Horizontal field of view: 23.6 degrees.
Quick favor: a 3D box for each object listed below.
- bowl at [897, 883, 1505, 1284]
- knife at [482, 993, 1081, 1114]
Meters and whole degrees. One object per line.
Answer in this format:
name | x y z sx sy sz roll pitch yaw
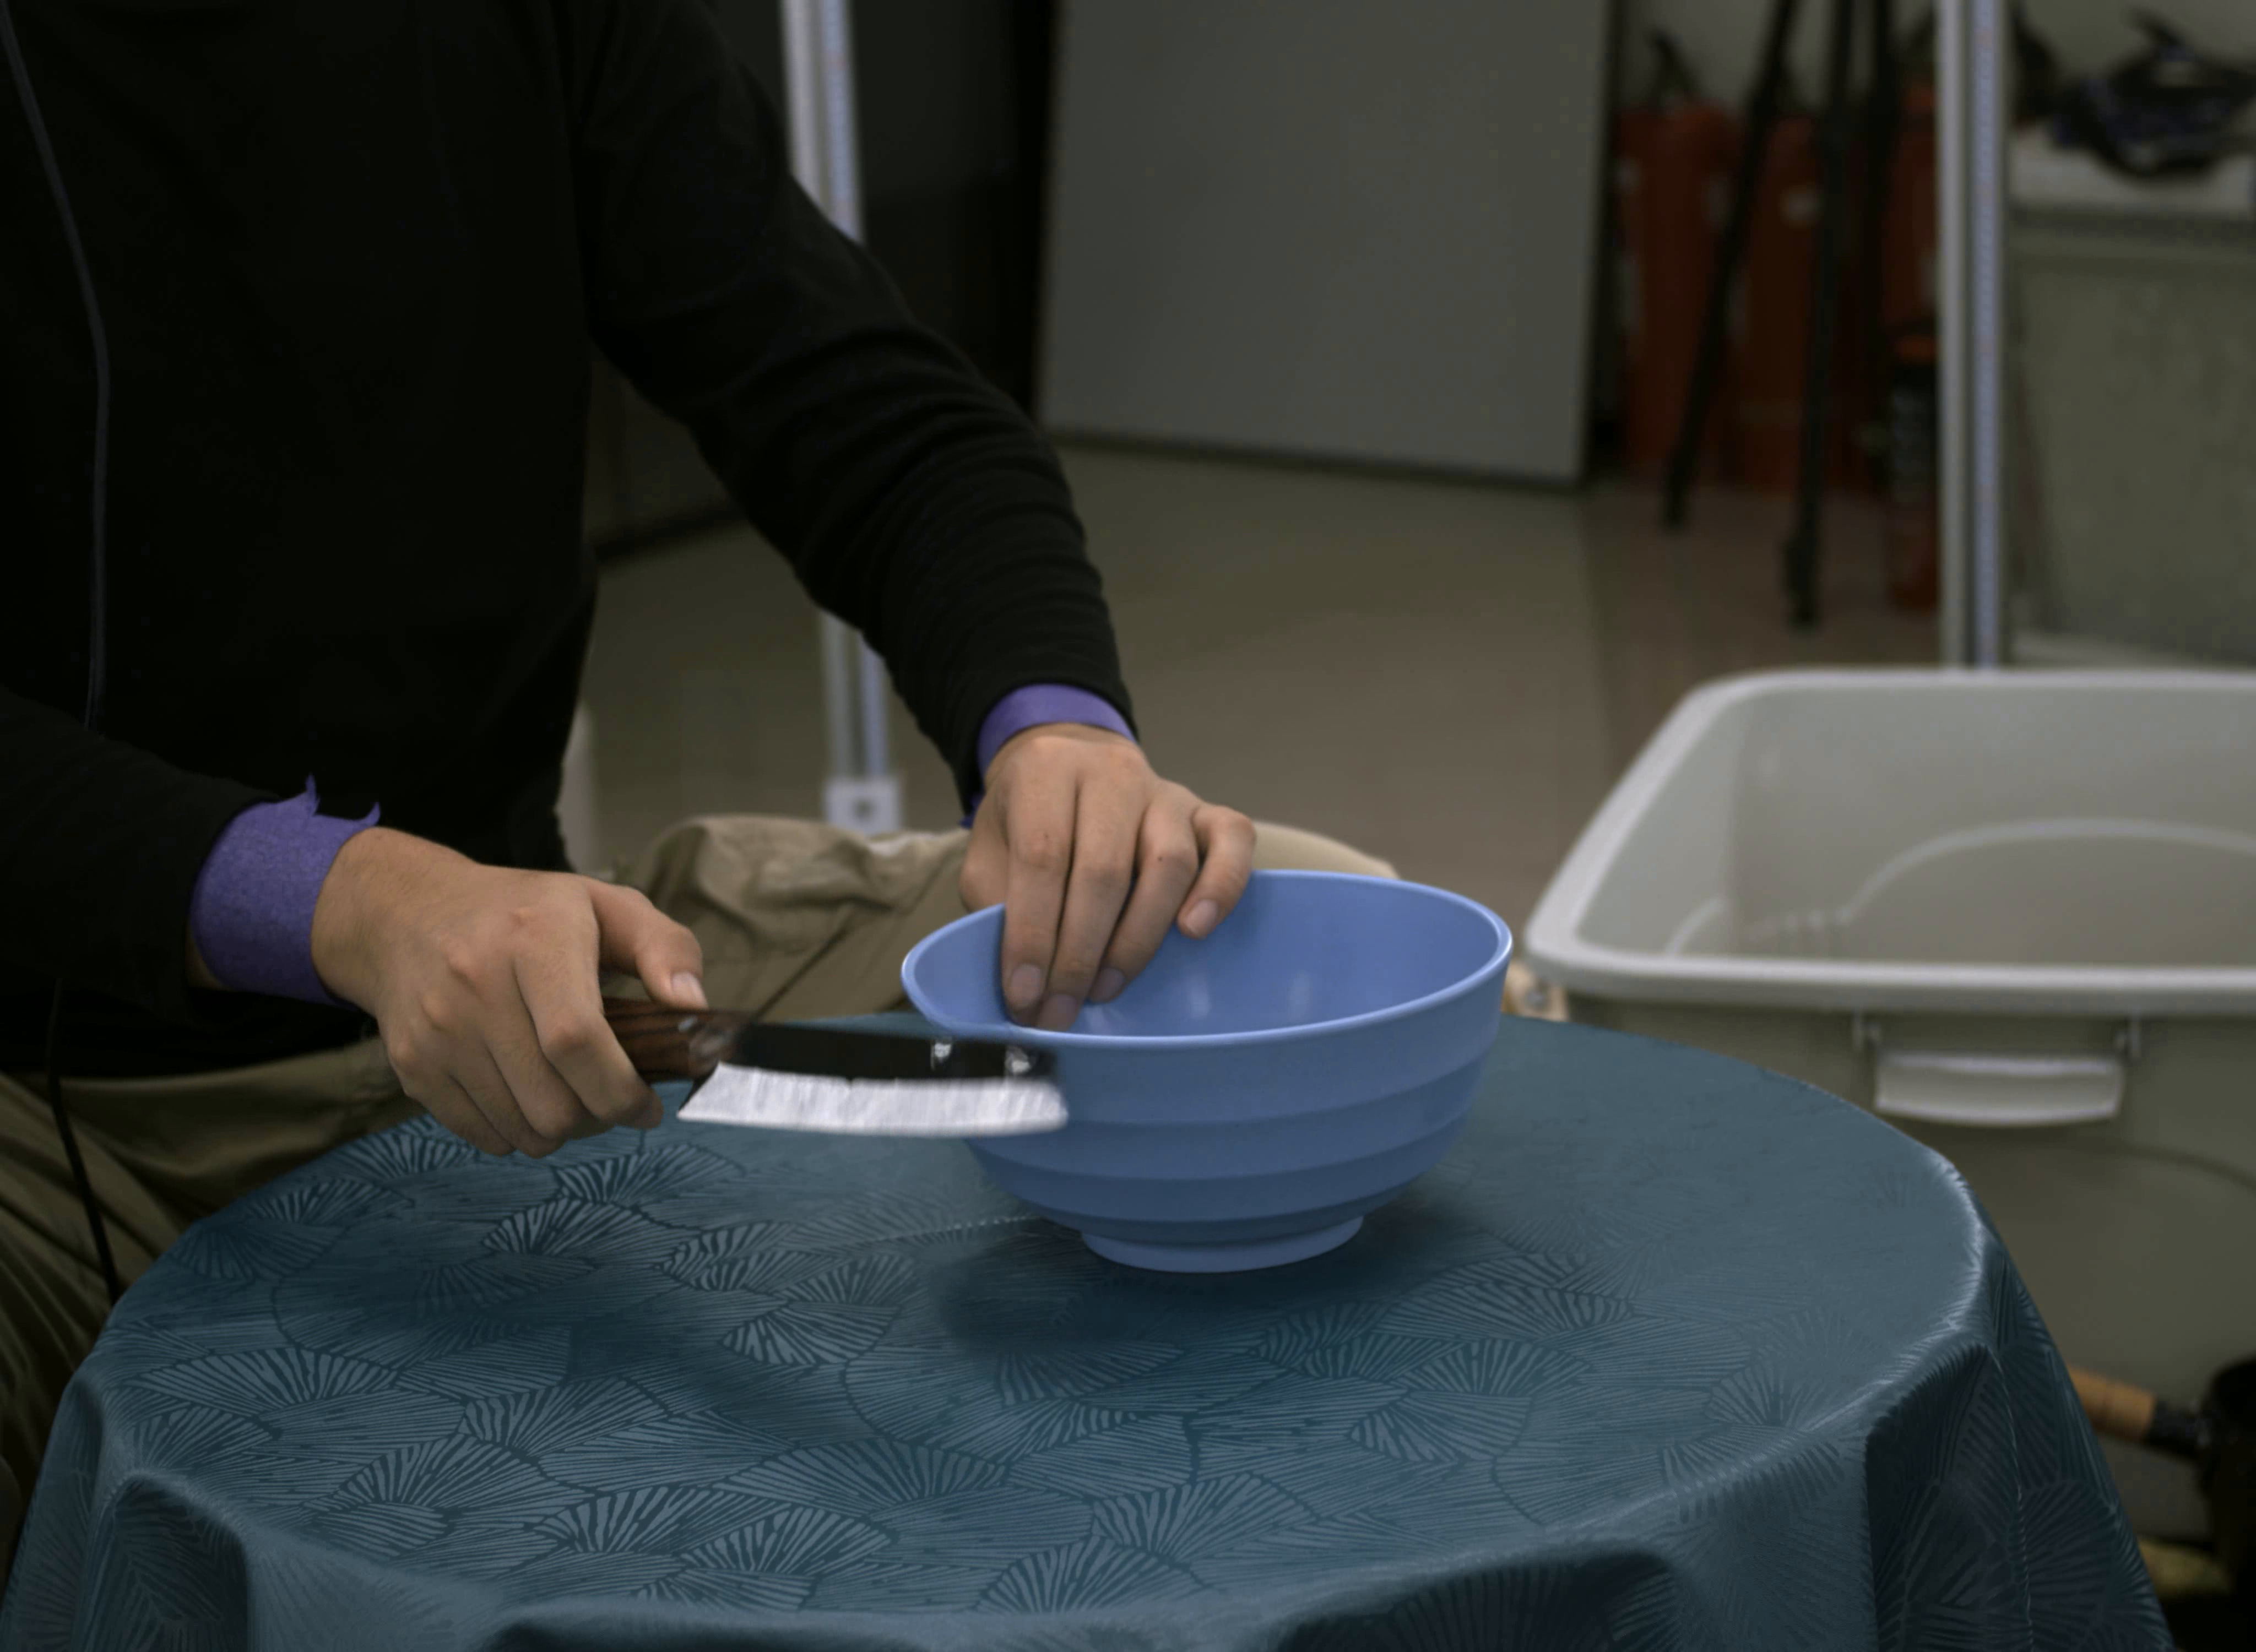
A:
bowl | 0.027 0.087 1.720 0.194 0.096 0.197 -6 12 0
knife | -0.108 0.069 1.632 0.292 0.020 0.050 1 44 50
